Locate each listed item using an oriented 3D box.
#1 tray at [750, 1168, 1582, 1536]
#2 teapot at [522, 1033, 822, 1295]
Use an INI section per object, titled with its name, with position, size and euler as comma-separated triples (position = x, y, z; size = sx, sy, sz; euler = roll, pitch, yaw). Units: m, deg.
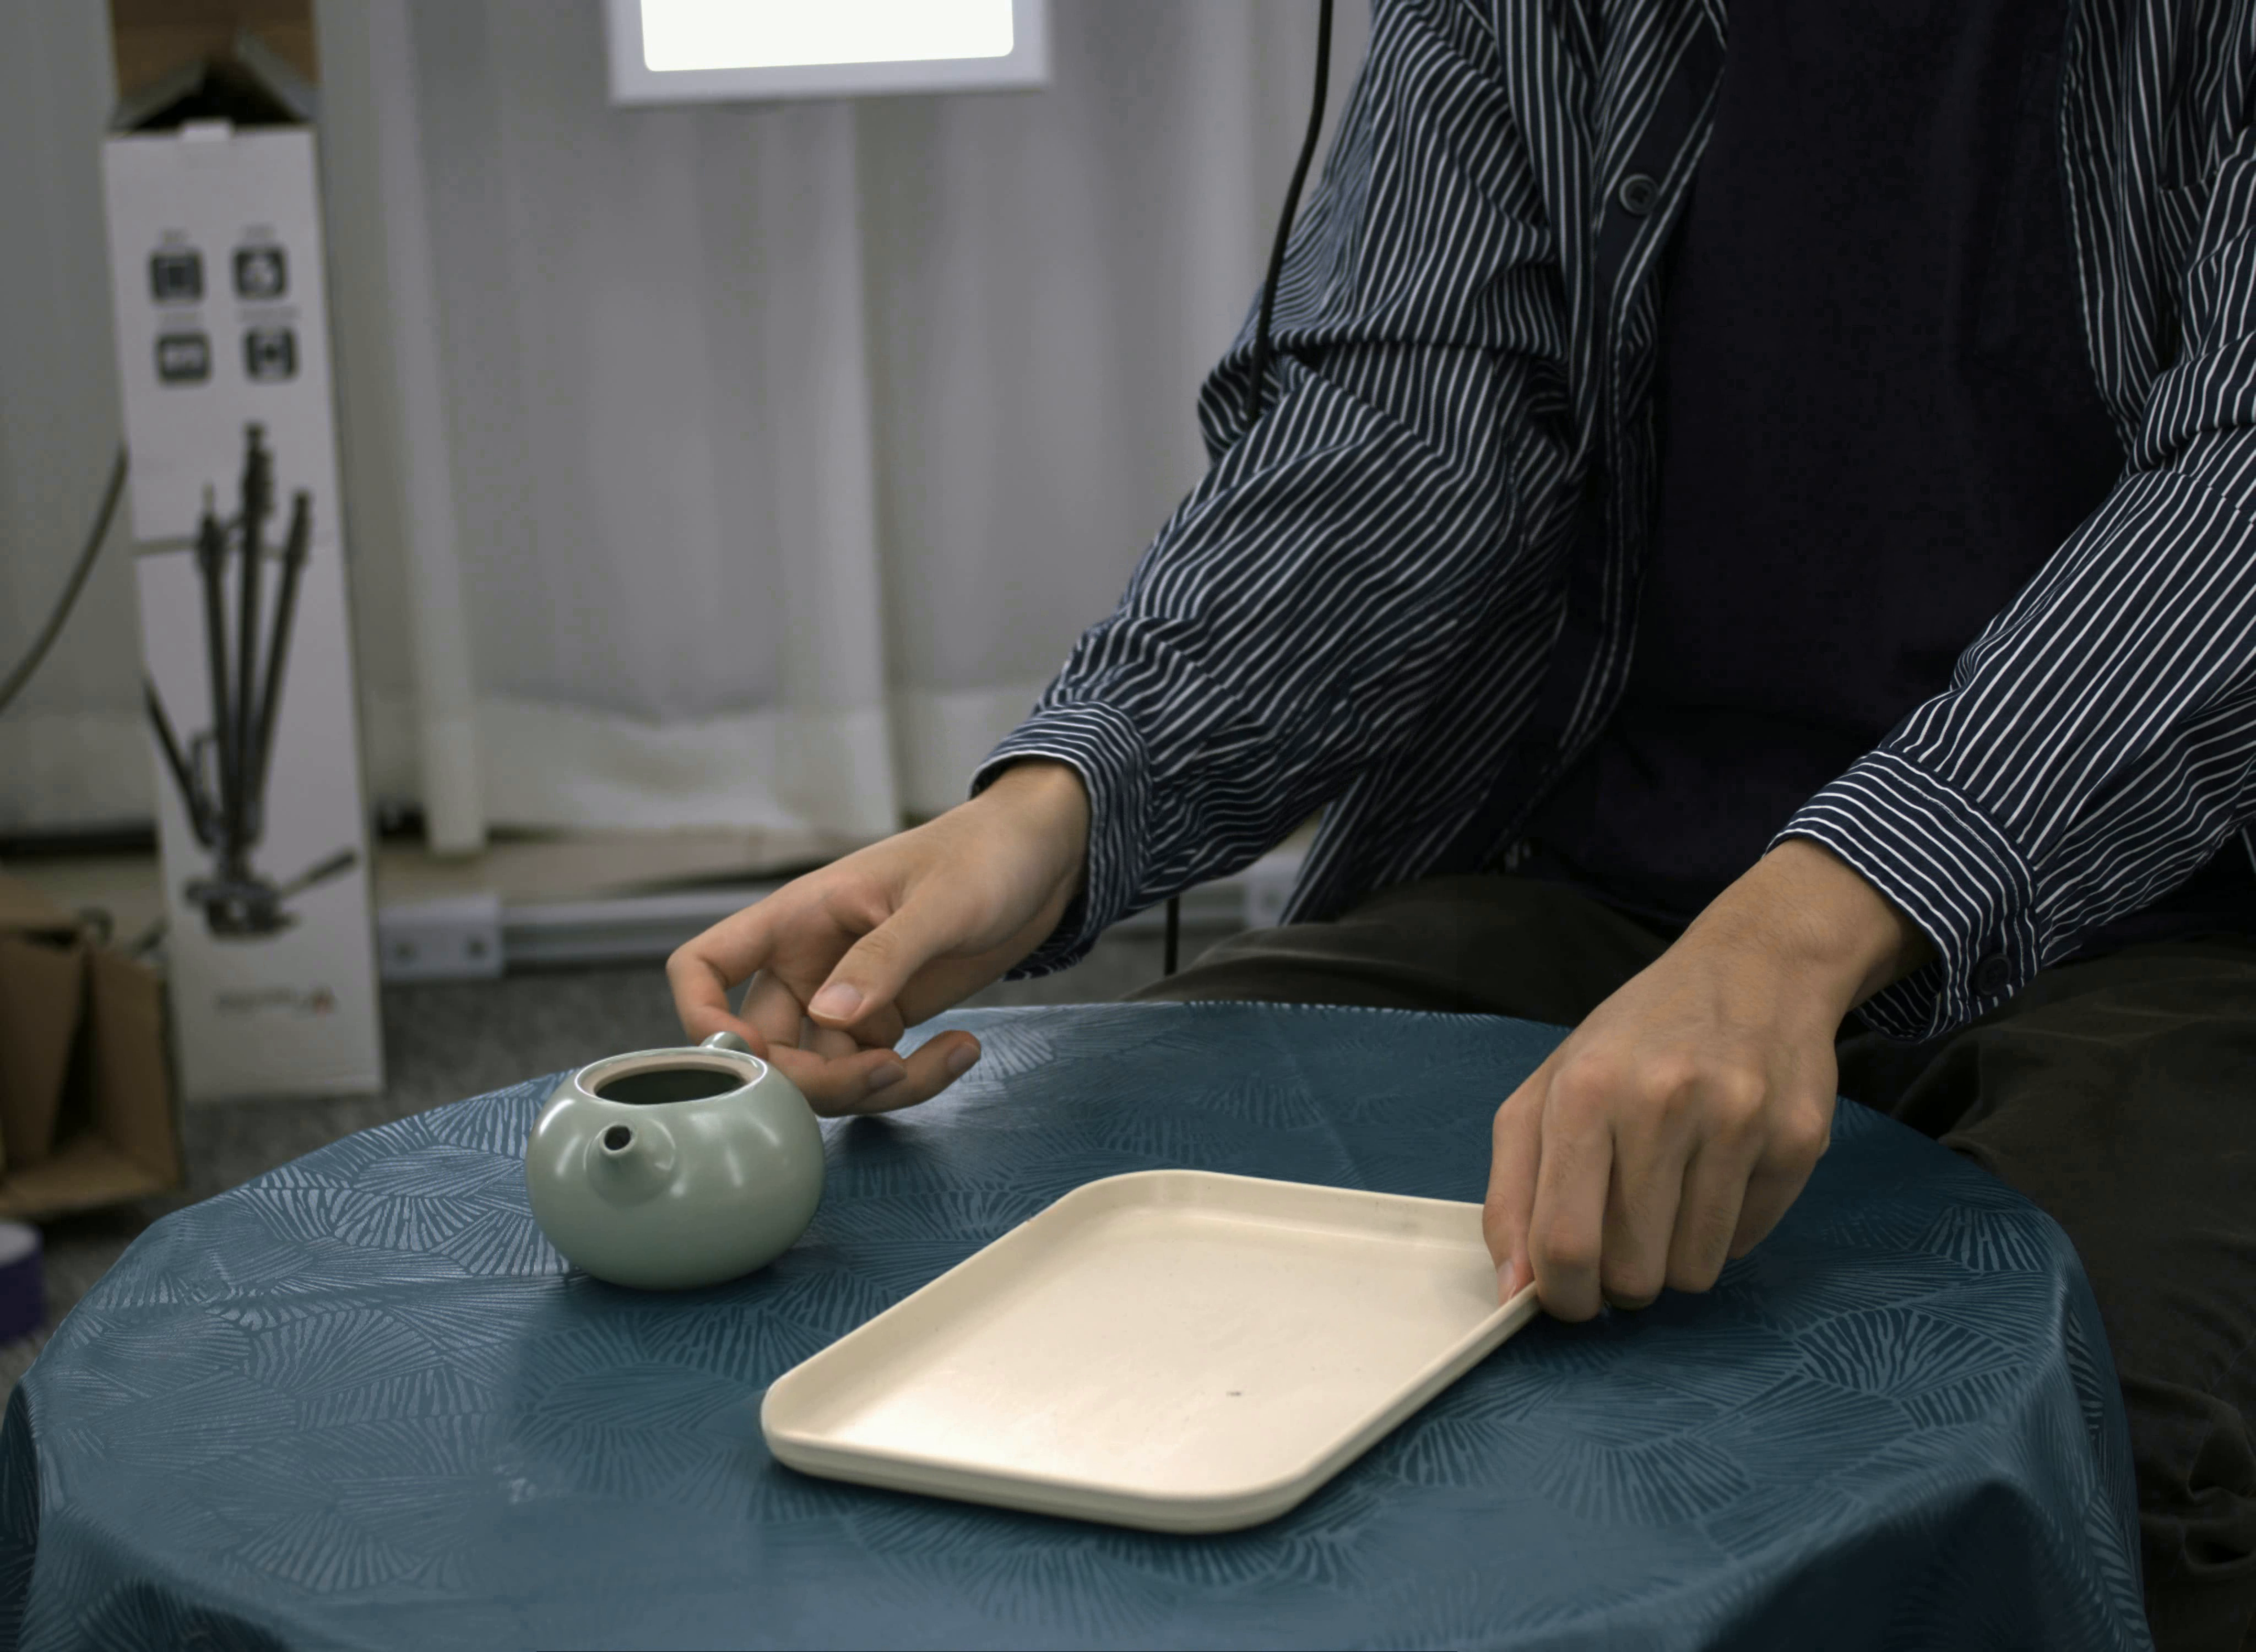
[tray]
position = 0.015, 0.148, 1.555
size = 0.171, 0.017, 0.240
euler = 6, 17, 28
[teapot]
position = -0.135, 0.103, 1.674
size = 0.091, 0.061, 0.129
euler = 0, 14, 19
